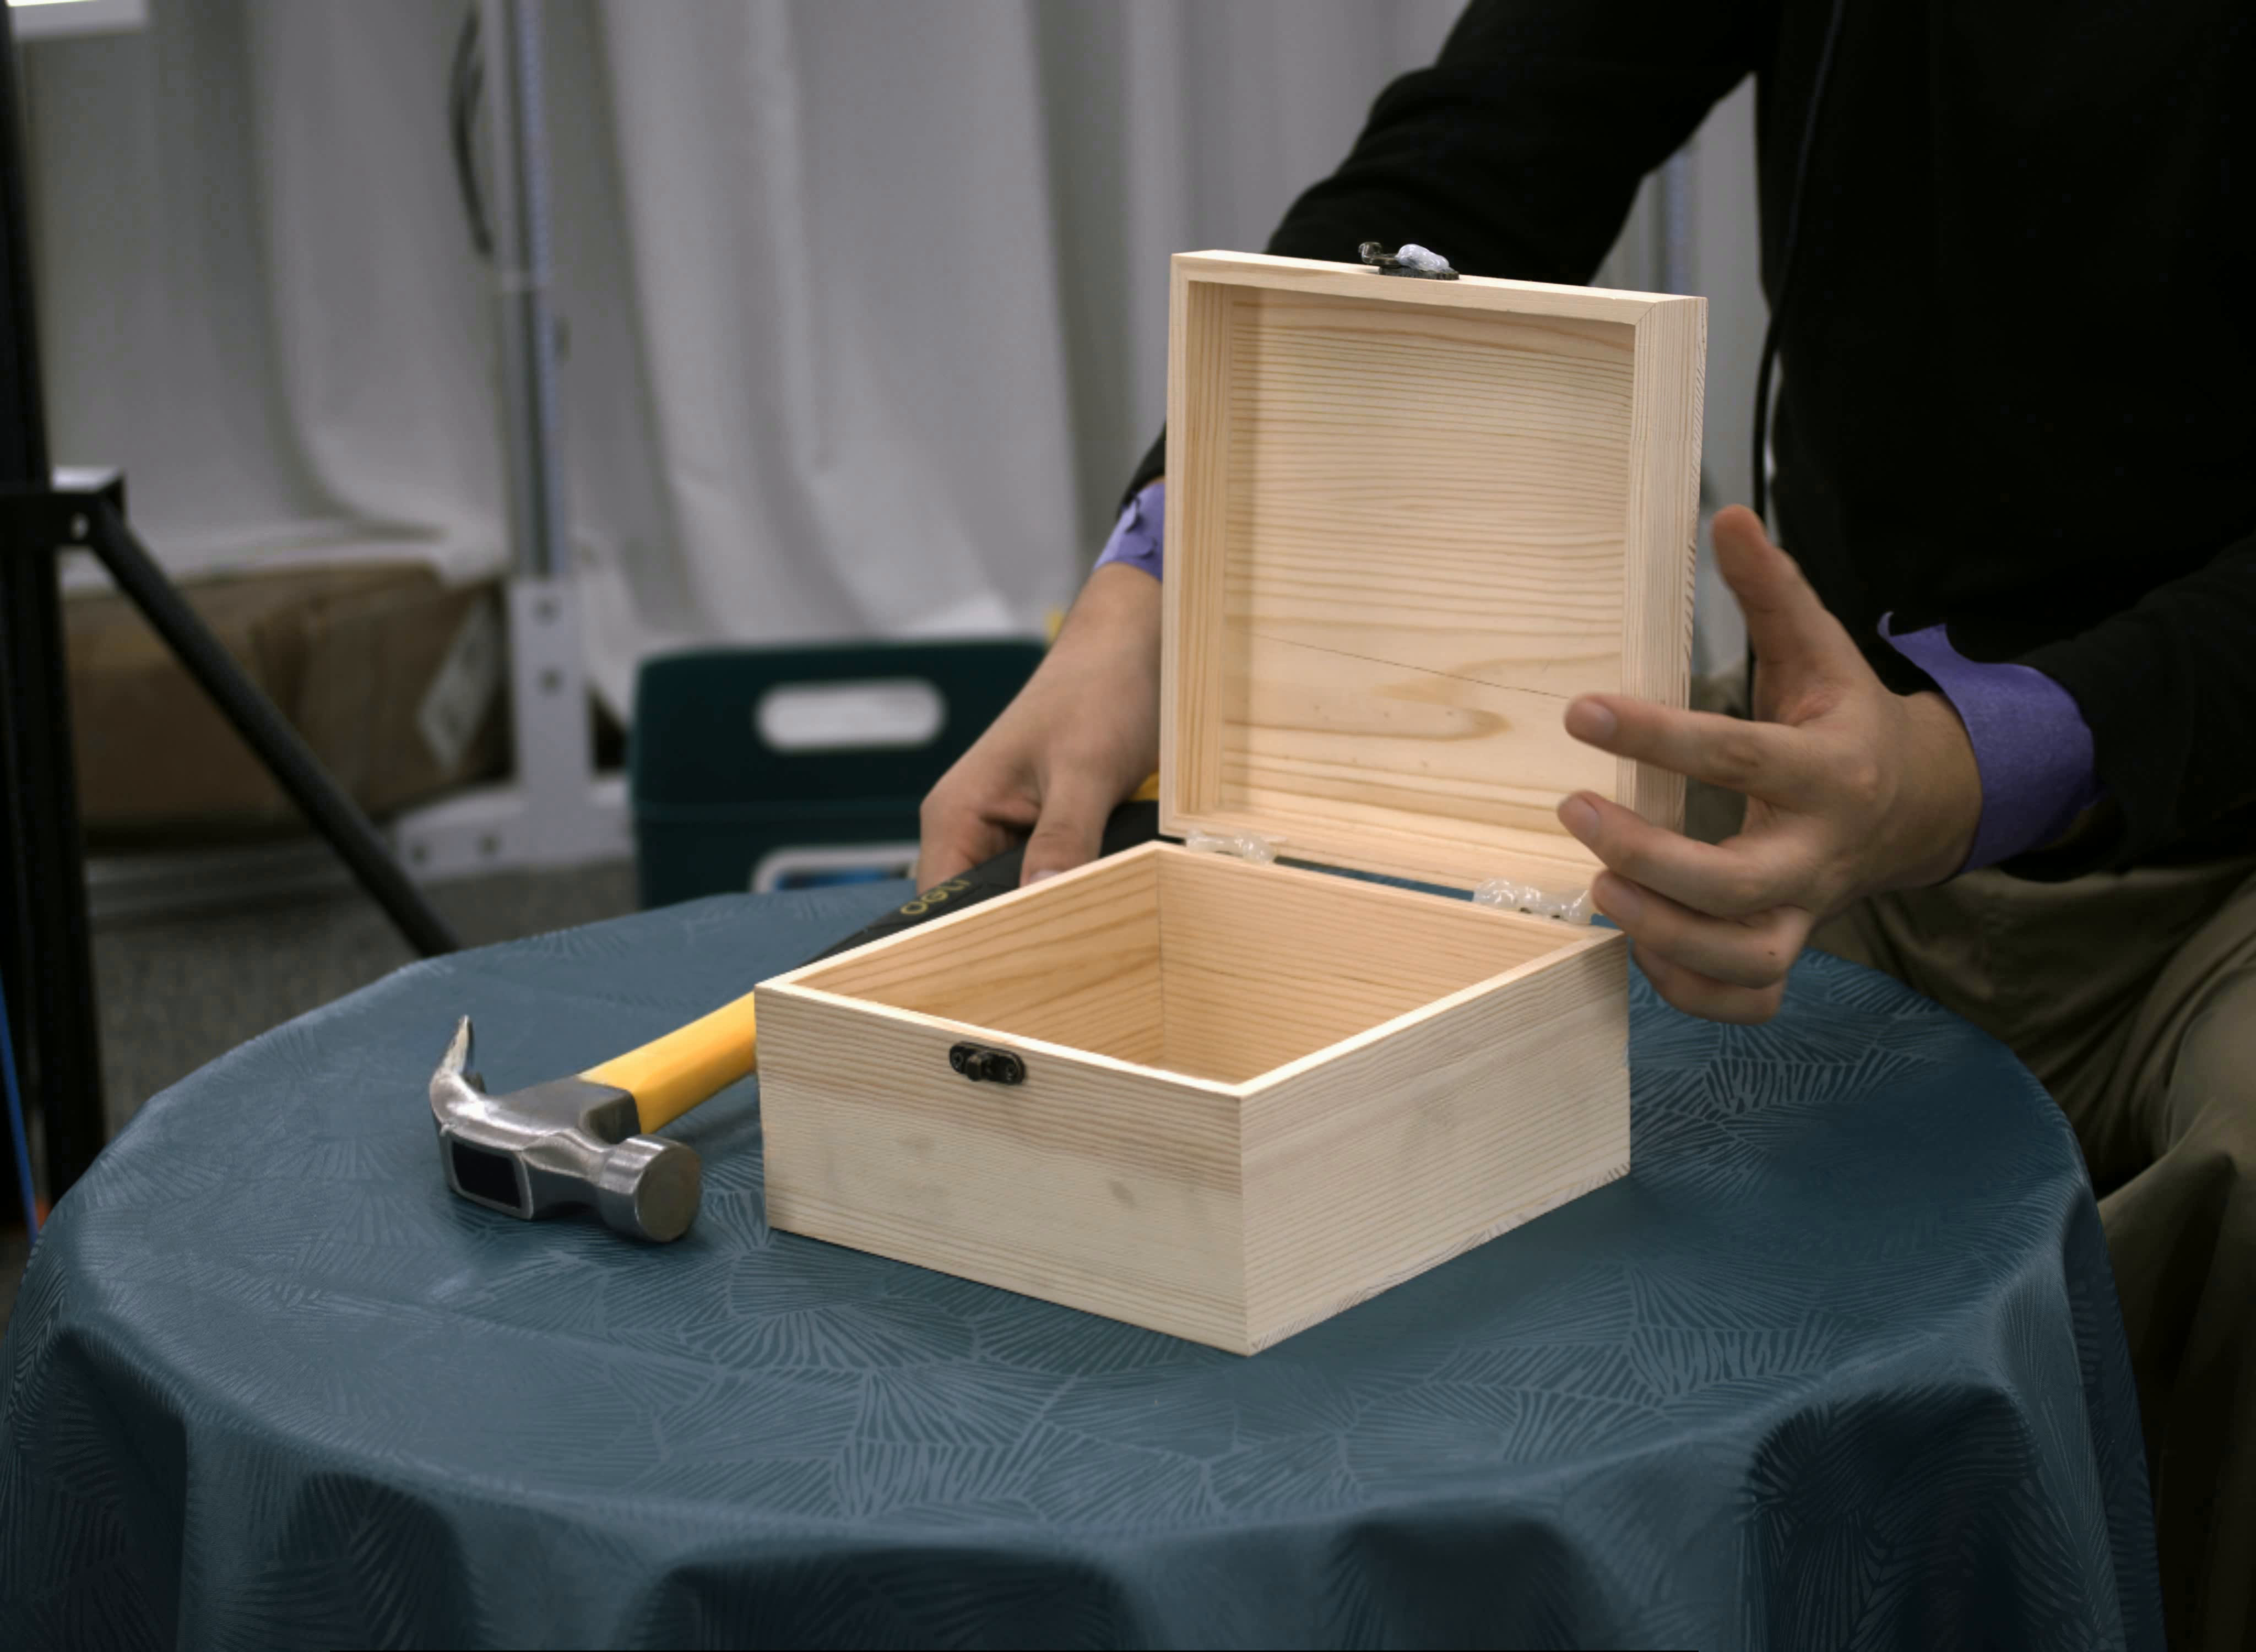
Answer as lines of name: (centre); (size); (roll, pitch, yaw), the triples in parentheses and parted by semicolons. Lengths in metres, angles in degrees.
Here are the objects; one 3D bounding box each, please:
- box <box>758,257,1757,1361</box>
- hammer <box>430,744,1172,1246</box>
box: (0.038, -0.018, 1.537); (0.186, 0.253, 0.259); (8, 19, 40)
hammer: (-0.080, 0.042, 1.672); (0.134, 0.032, 0.332); (11, 29, 42)
